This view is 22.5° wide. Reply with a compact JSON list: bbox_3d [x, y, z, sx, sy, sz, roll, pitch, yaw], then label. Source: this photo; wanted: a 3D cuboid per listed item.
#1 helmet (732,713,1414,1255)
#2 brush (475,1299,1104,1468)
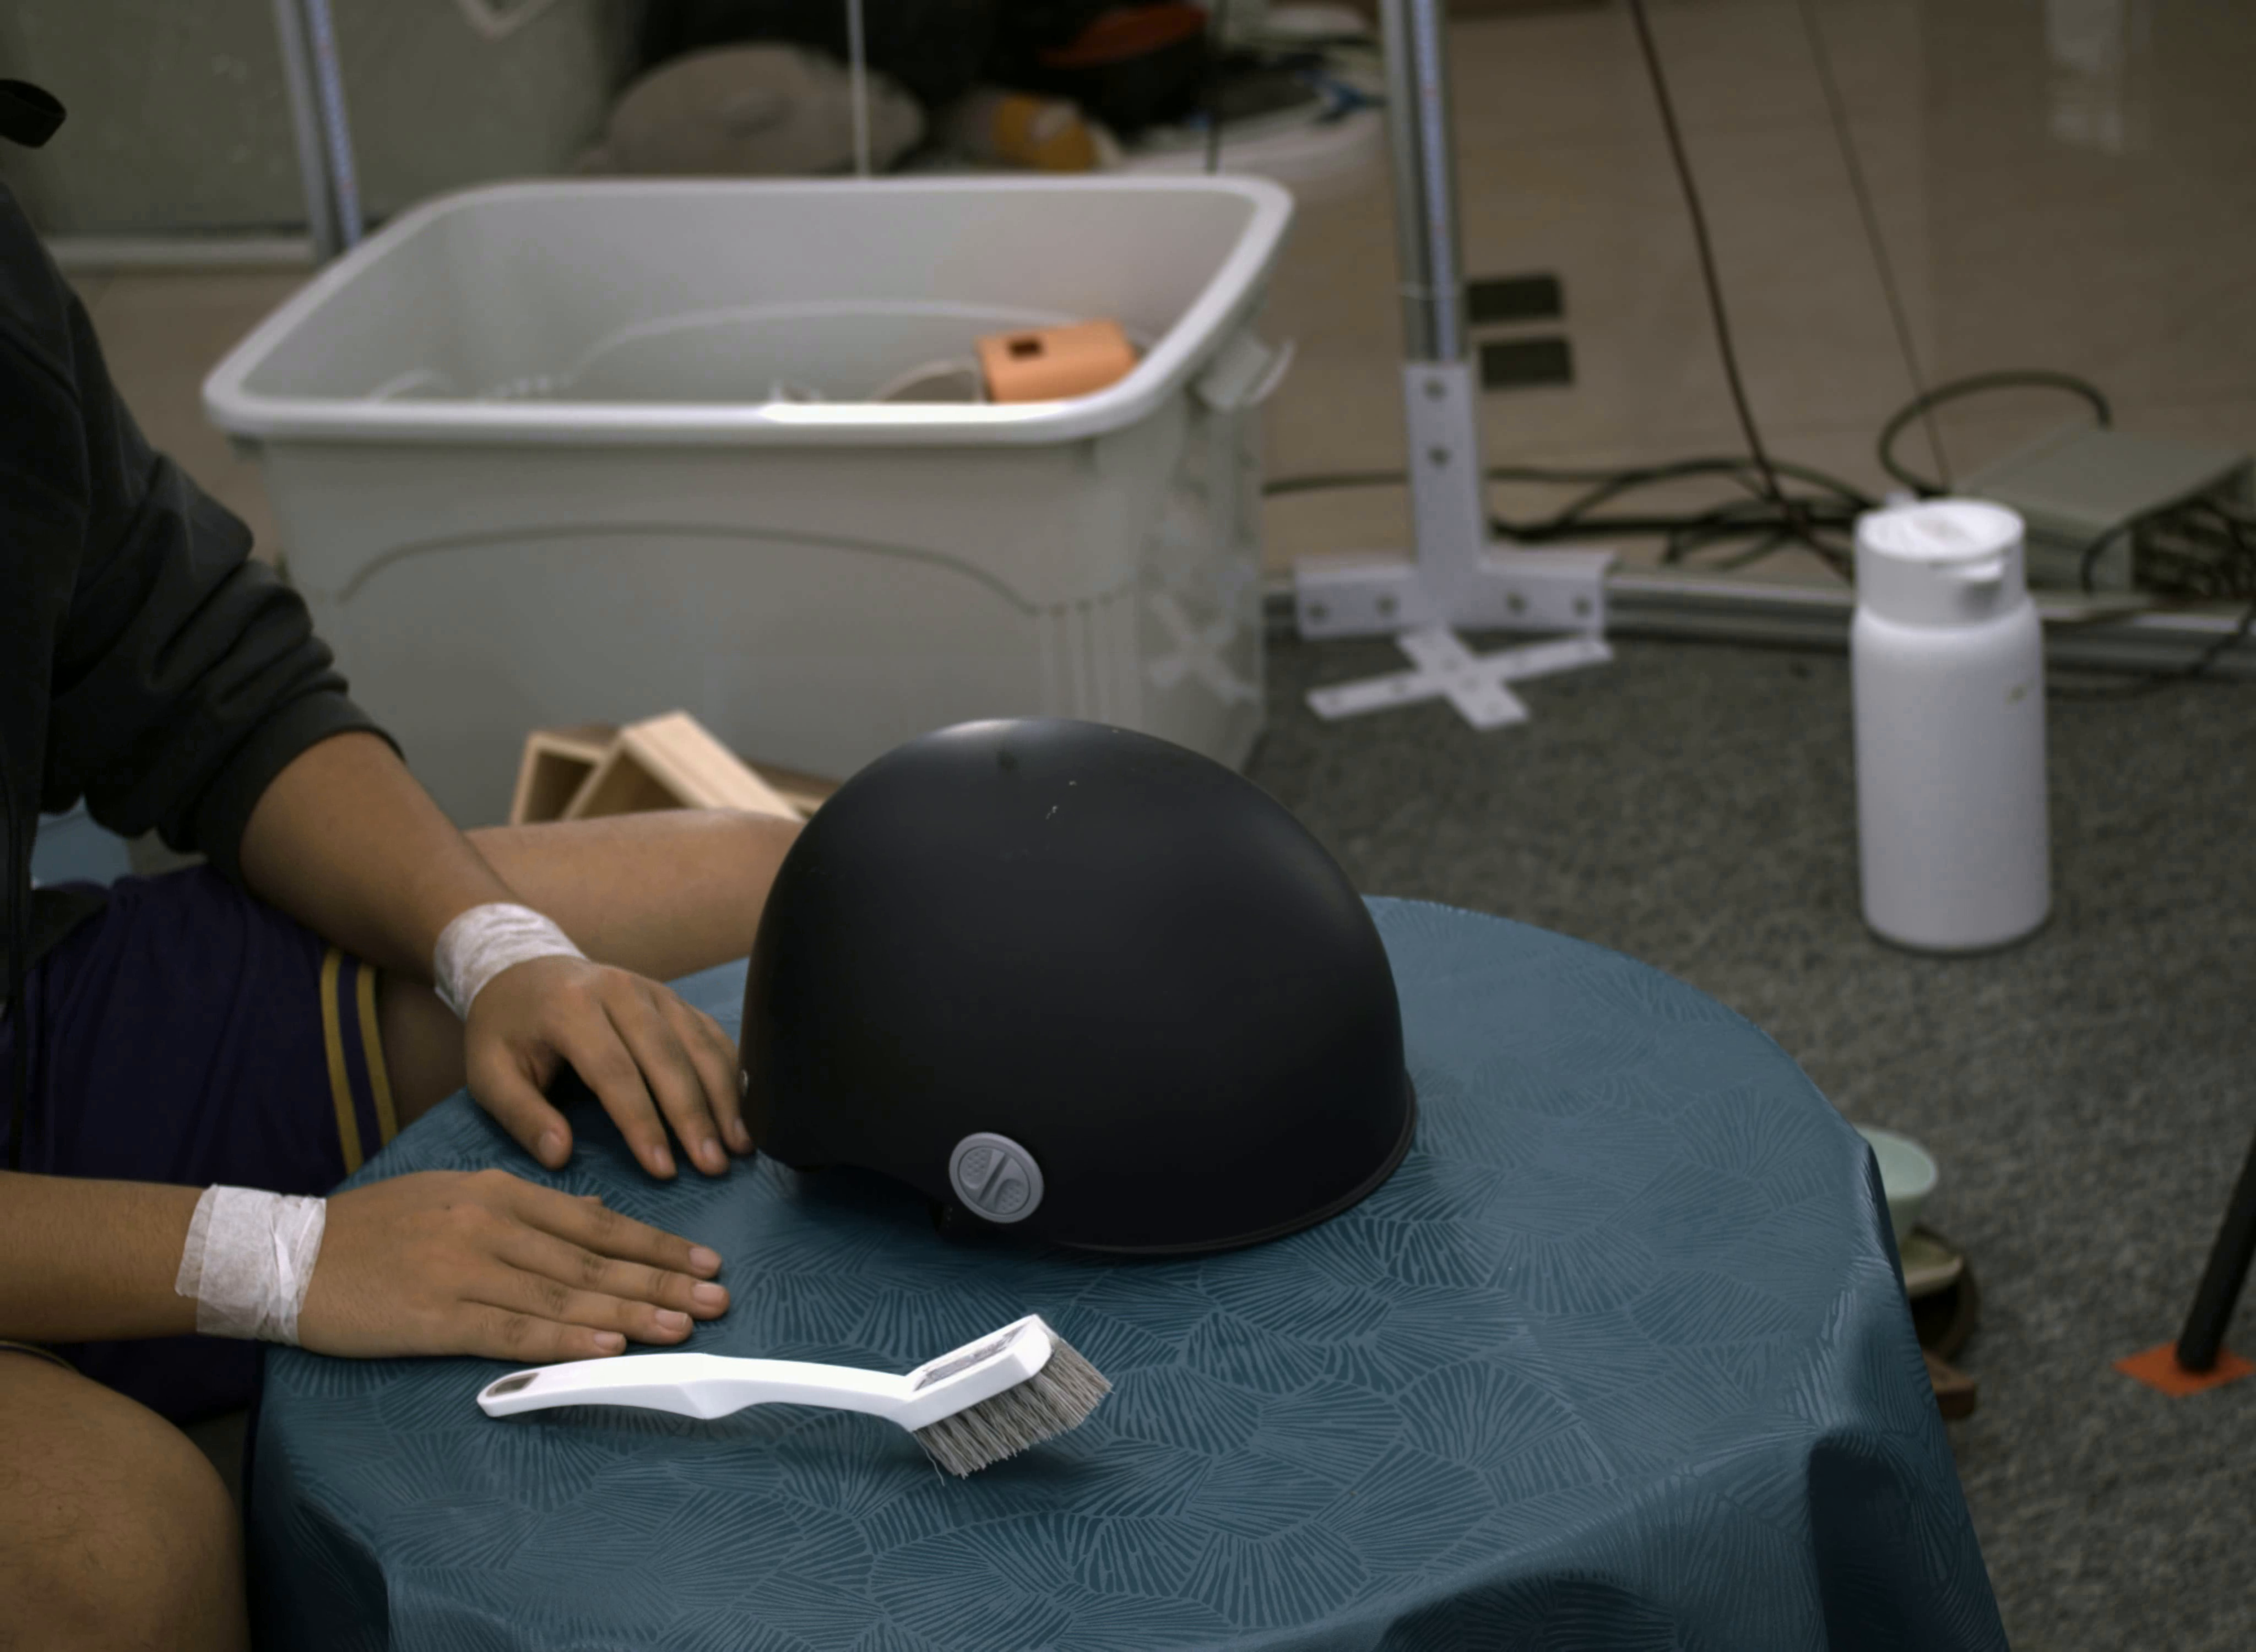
[{"bbox_3d":[-0.026,0.046,2.163,0.271,0.169,0.227,14,34,34],"label":"helmet"},{"bbox_3d":[-0.121,0.207,2.003,0.244,0.051,0.034,-10,22,26],"label":"brush"}]
